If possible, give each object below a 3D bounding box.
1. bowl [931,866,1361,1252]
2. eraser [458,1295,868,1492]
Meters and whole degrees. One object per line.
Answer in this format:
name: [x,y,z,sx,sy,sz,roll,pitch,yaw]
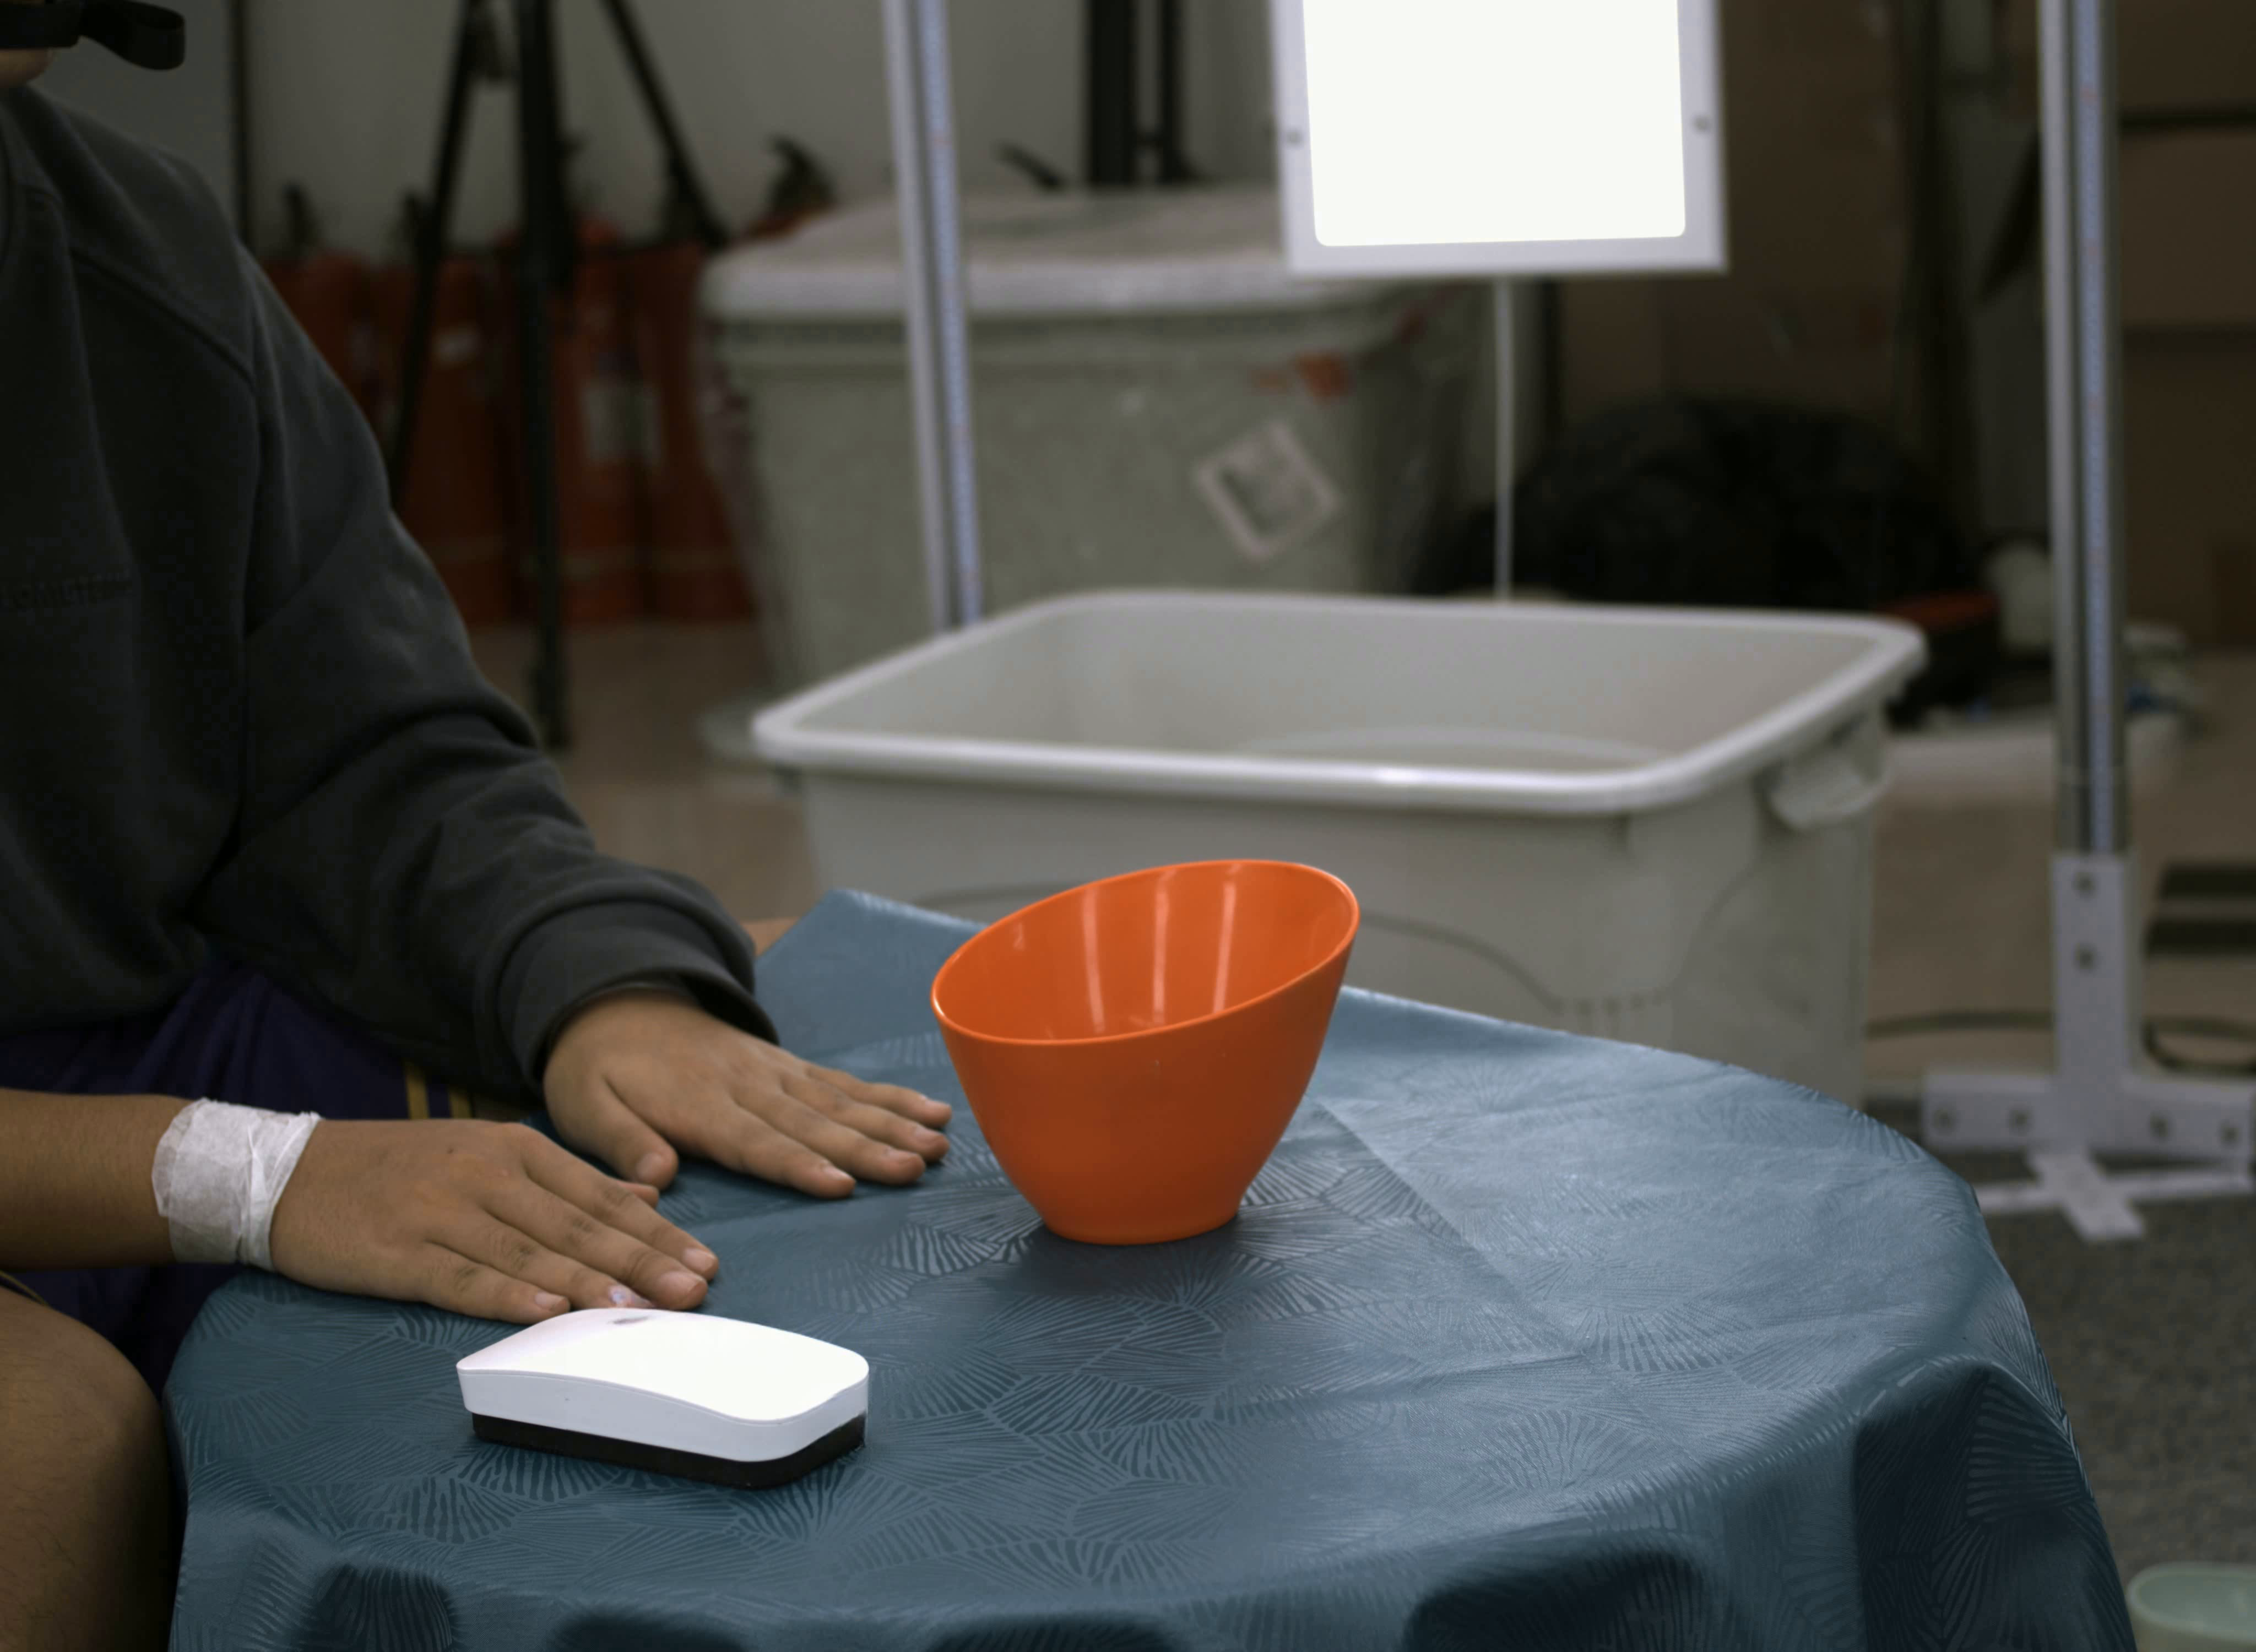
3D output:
bowl: [0.010,0.082,1.865,0.147,0.105,0.148,-6,14,0]
eraser: [-0.142,0.172,1.695,0.134,0.034,0.062,8,18,38]
